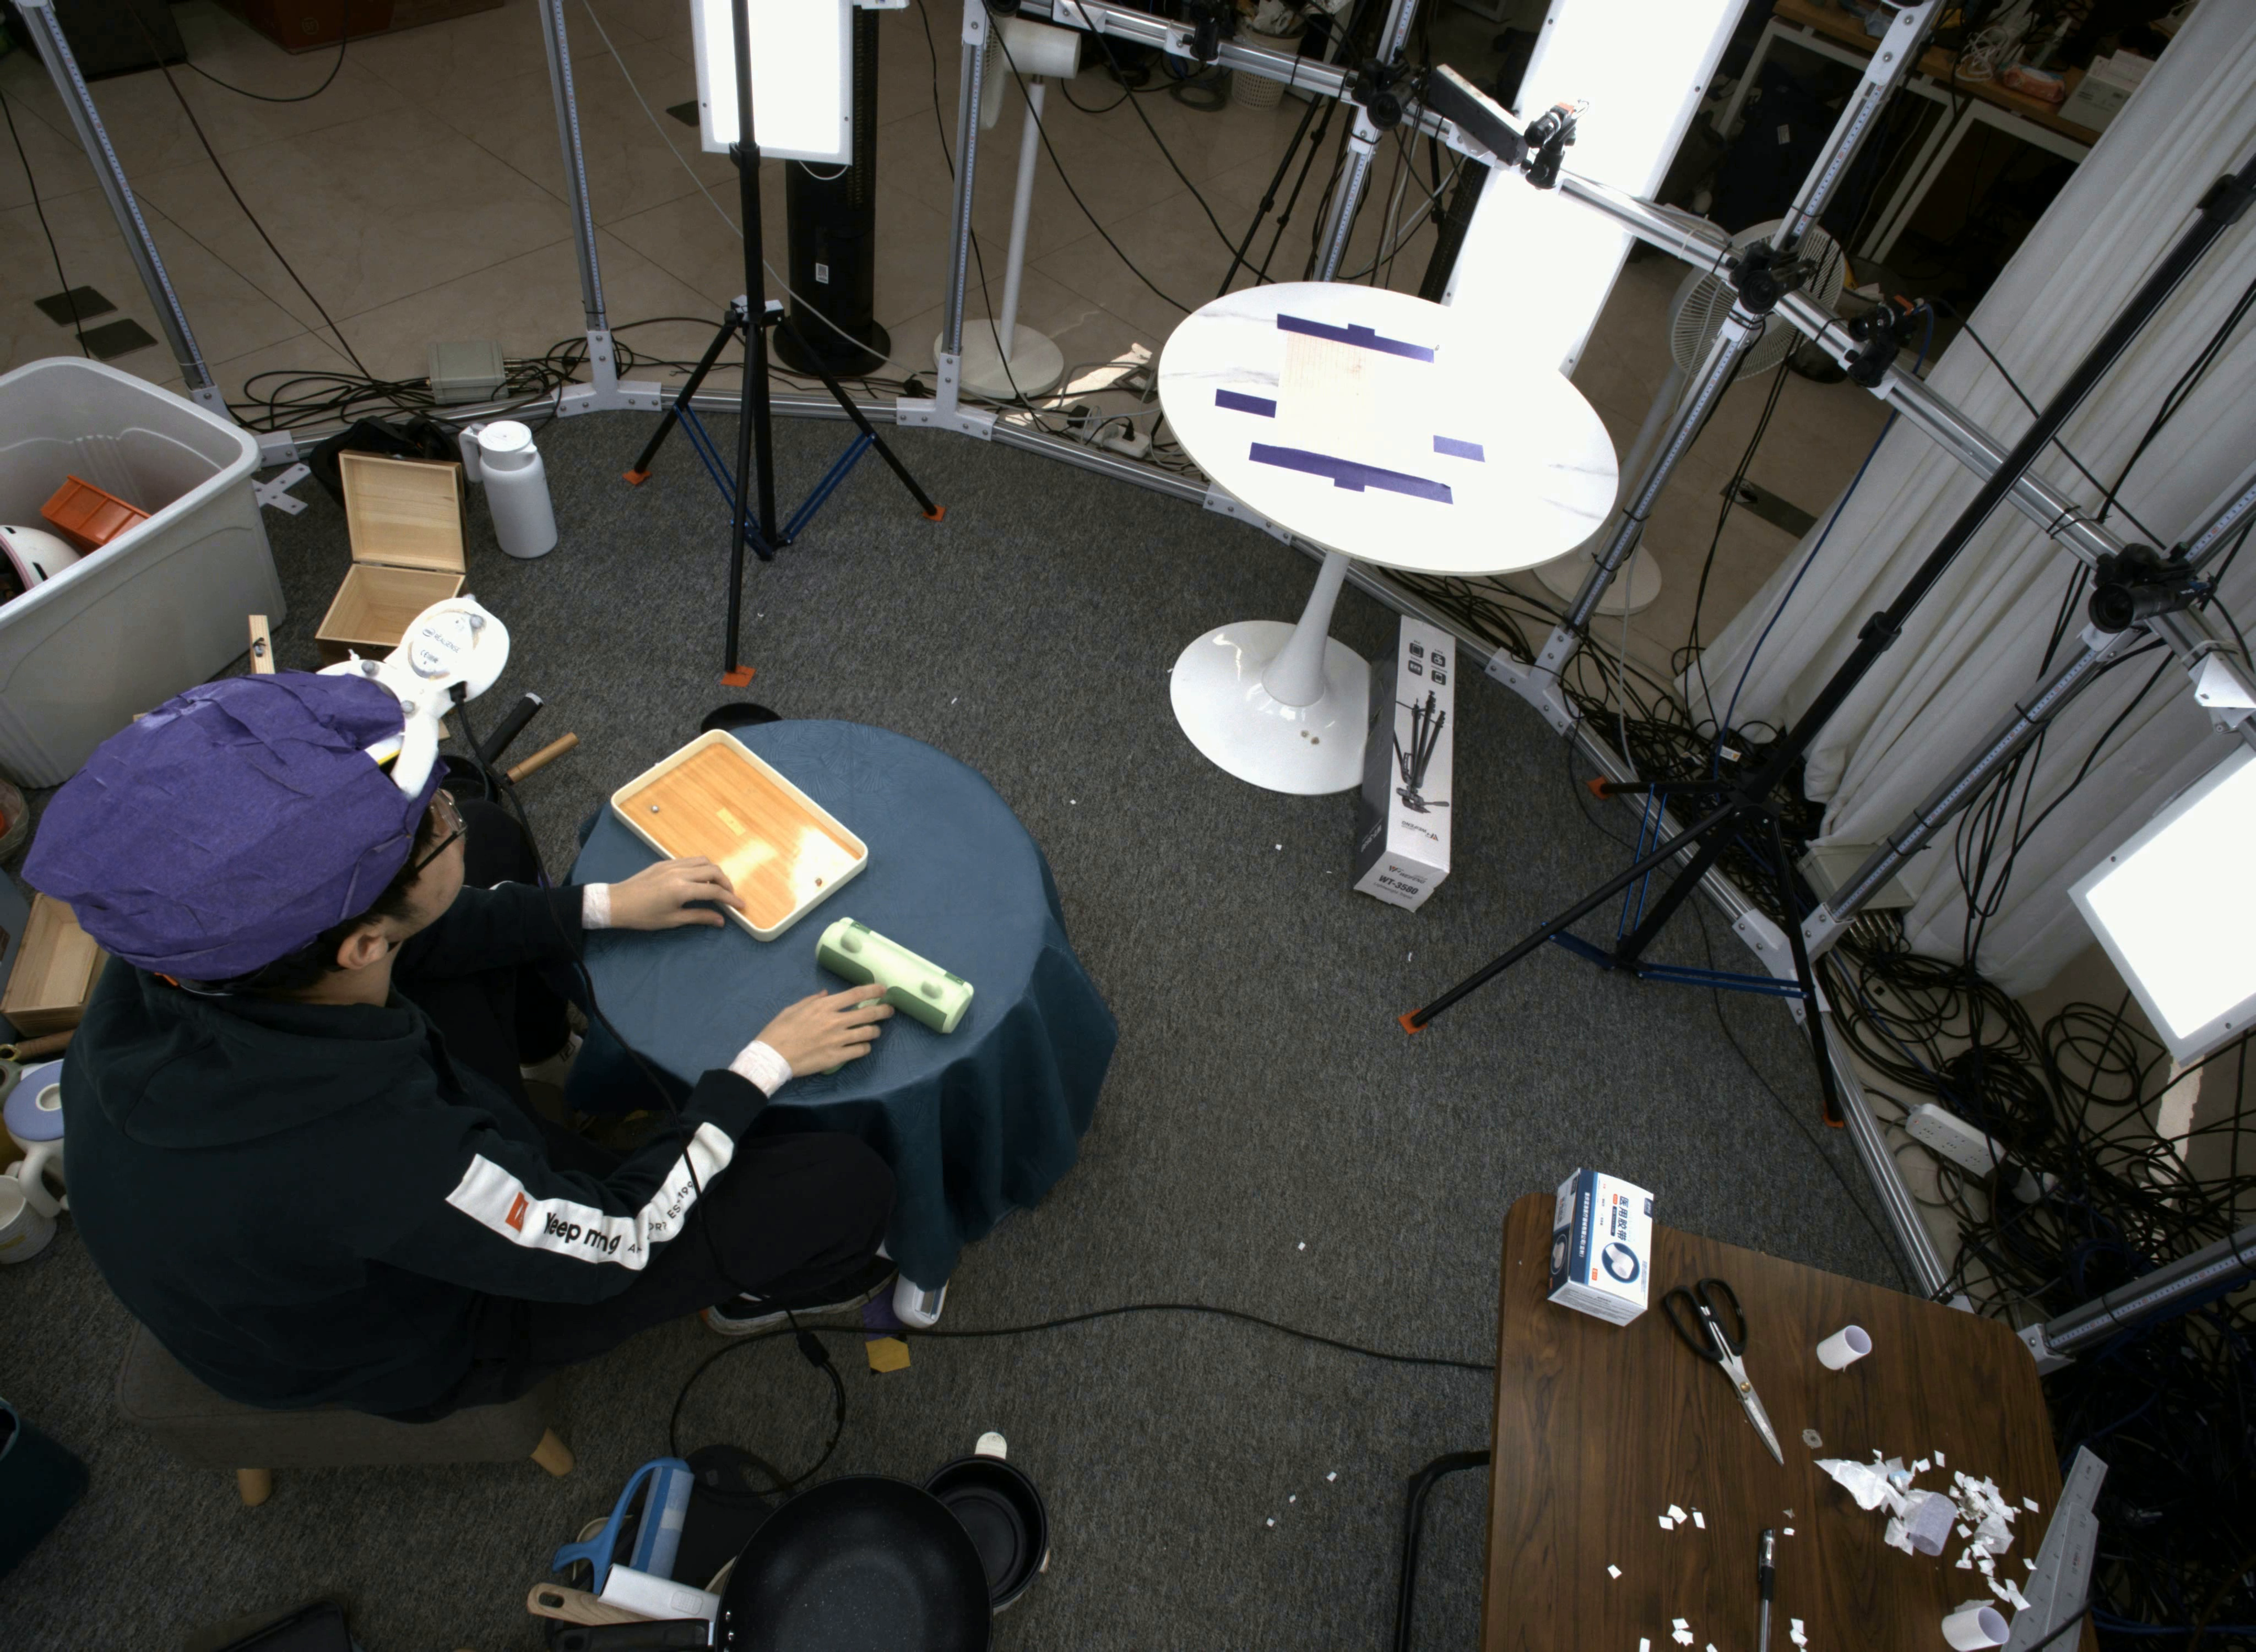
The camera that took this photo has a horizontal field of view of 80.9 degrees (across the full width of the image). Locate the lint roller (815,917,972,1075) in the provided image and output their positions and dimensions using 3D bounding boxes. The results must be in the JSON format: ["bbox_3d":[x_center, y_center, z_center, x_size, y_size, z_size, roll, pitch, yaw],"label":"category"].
[{"bbox_3d":[-0.313,0.210,1.556,0.196,0.084,0.182,28,47,7],"label":"lint roller"}]

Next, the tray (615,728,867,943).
[{"bbox_3d":[-0.507,0.006,1.686,0.294,0.028,0.191,37,54,13],"label":"tray"}]
